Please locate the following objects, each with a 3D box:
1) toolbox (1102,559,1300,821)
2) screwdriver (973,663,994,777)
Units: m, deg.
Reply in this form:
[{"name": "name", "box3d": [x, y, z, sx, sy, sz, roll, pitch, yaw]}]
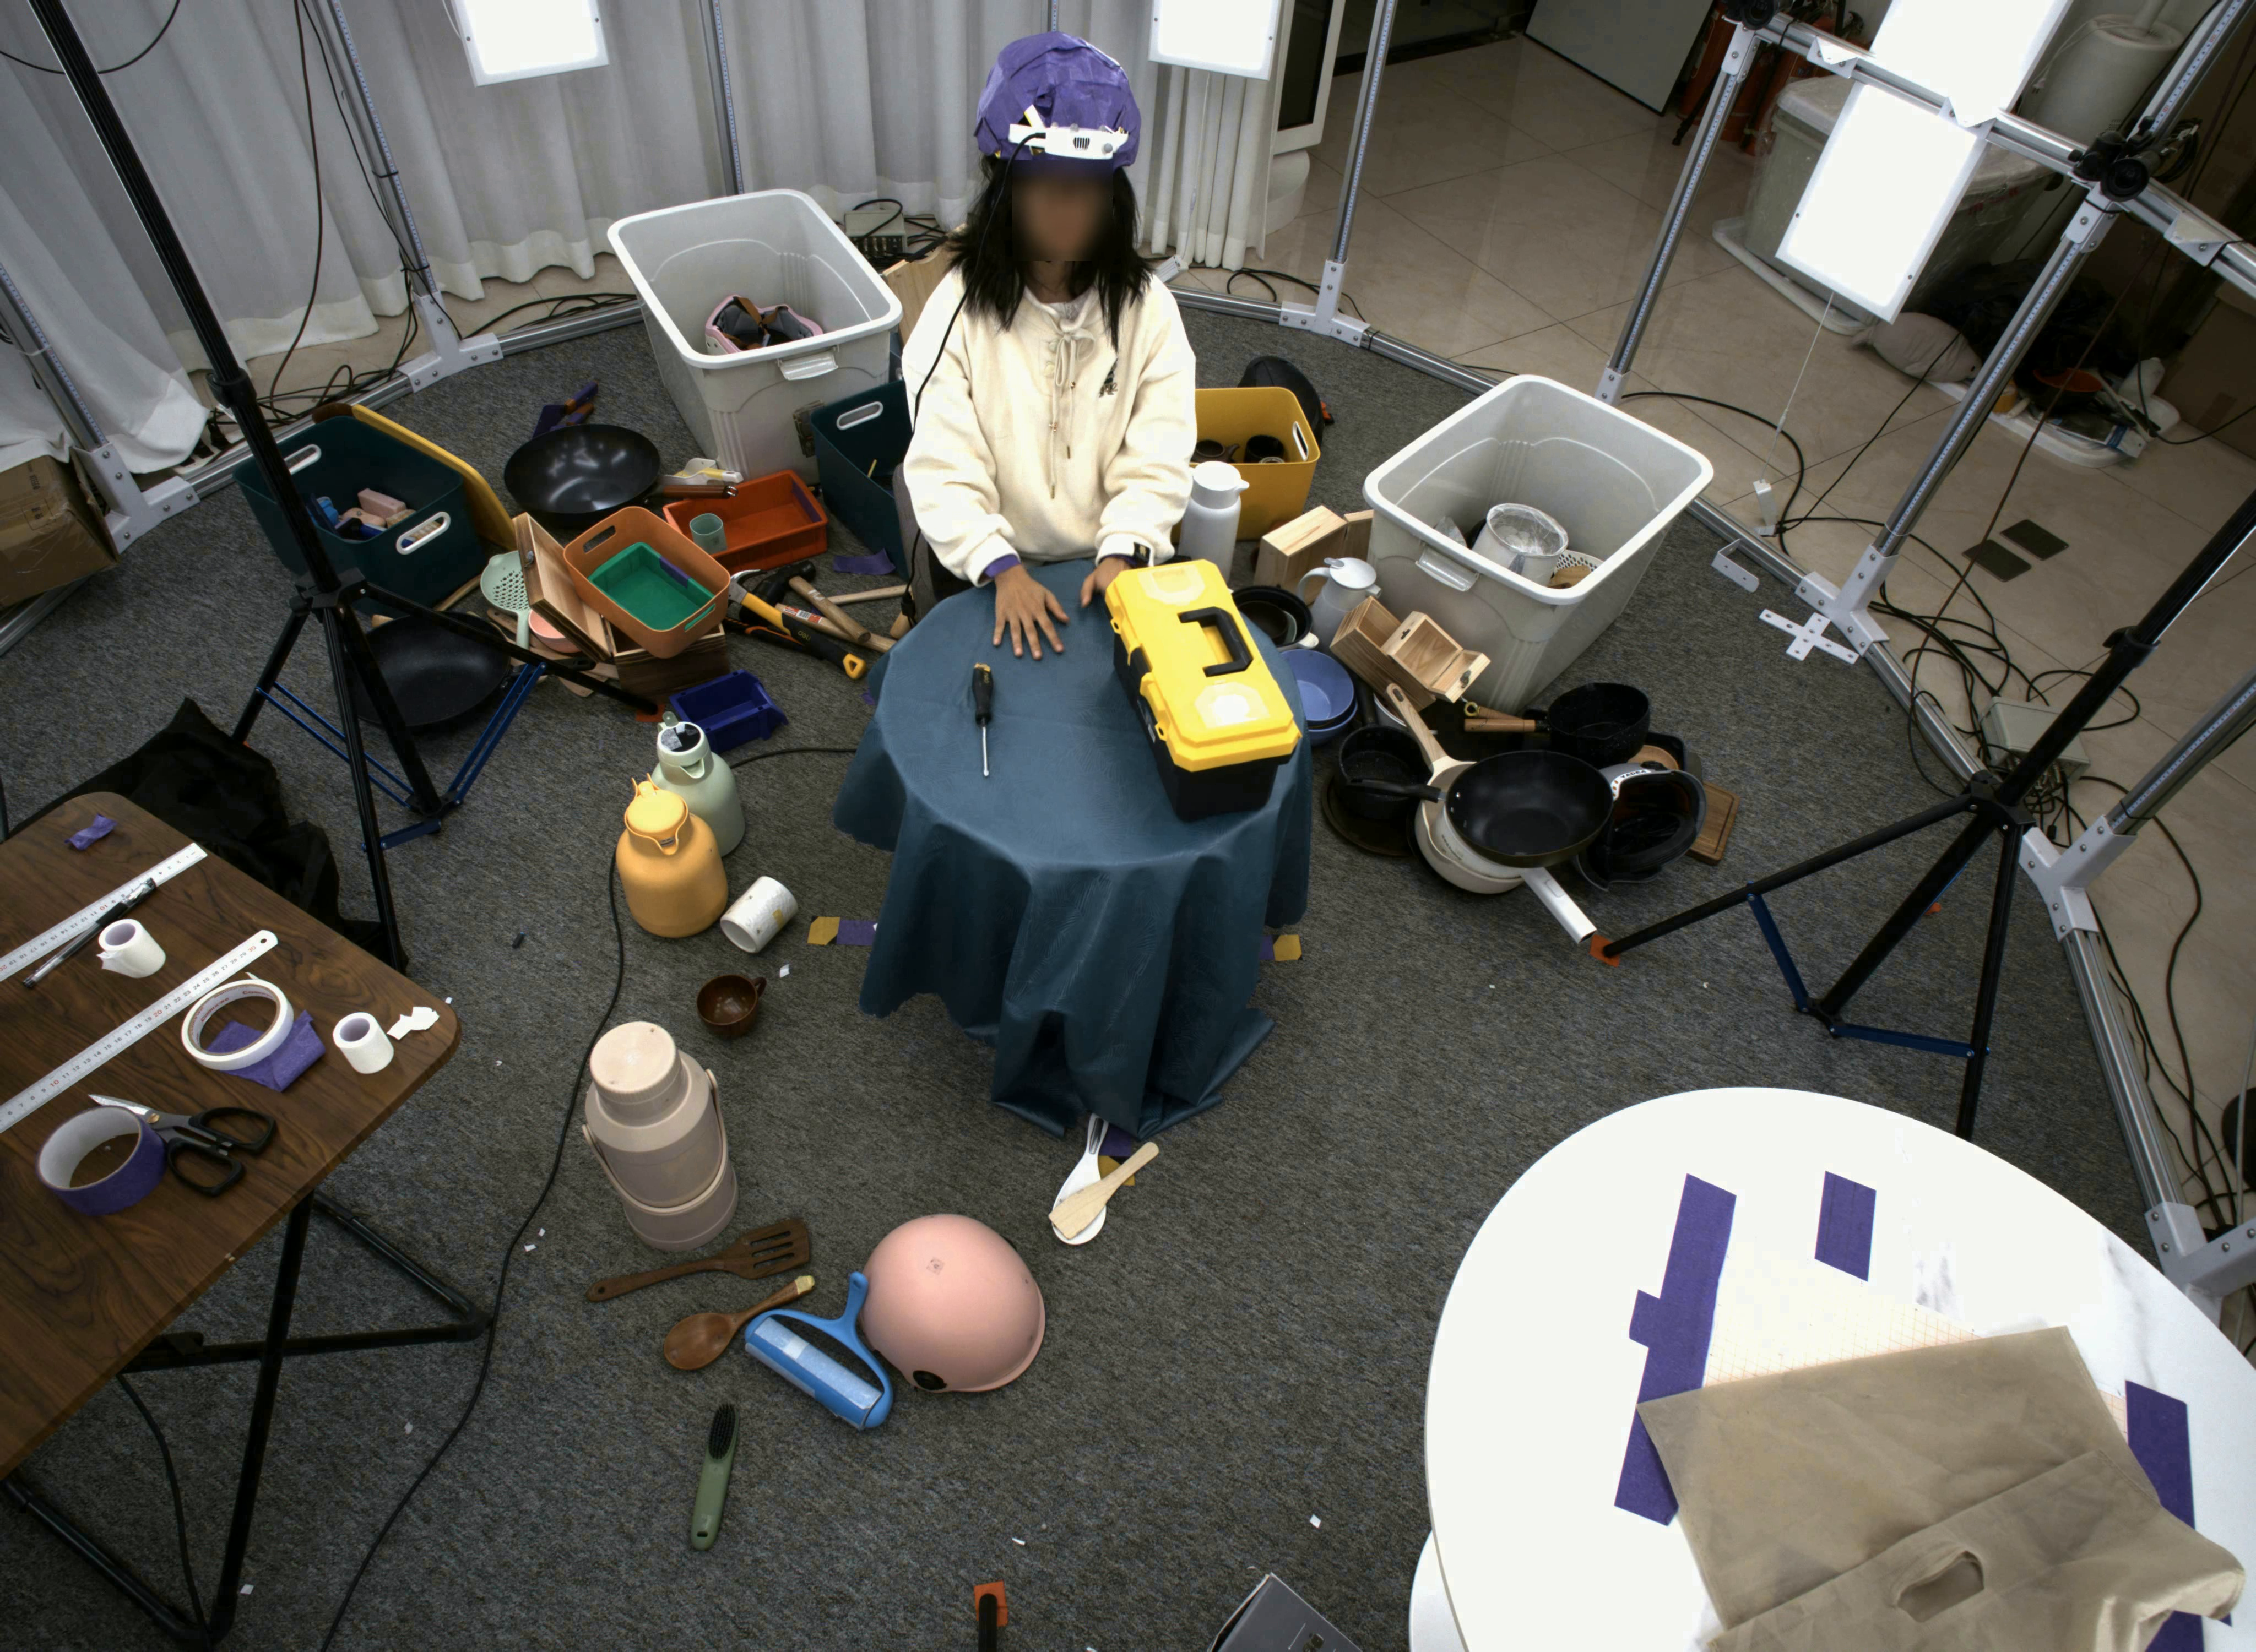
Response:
[{"name": "toolbox", "box3d": [0.089, -0.185, 1.724, 0.181, 0.168, 0.360, -10, 51, -12]}, {"name": "screwdriver", "box3d": [-0.197, -0.149, 1.765, 0.031, 0.031, 0.201, -2, 51, -6]}]
